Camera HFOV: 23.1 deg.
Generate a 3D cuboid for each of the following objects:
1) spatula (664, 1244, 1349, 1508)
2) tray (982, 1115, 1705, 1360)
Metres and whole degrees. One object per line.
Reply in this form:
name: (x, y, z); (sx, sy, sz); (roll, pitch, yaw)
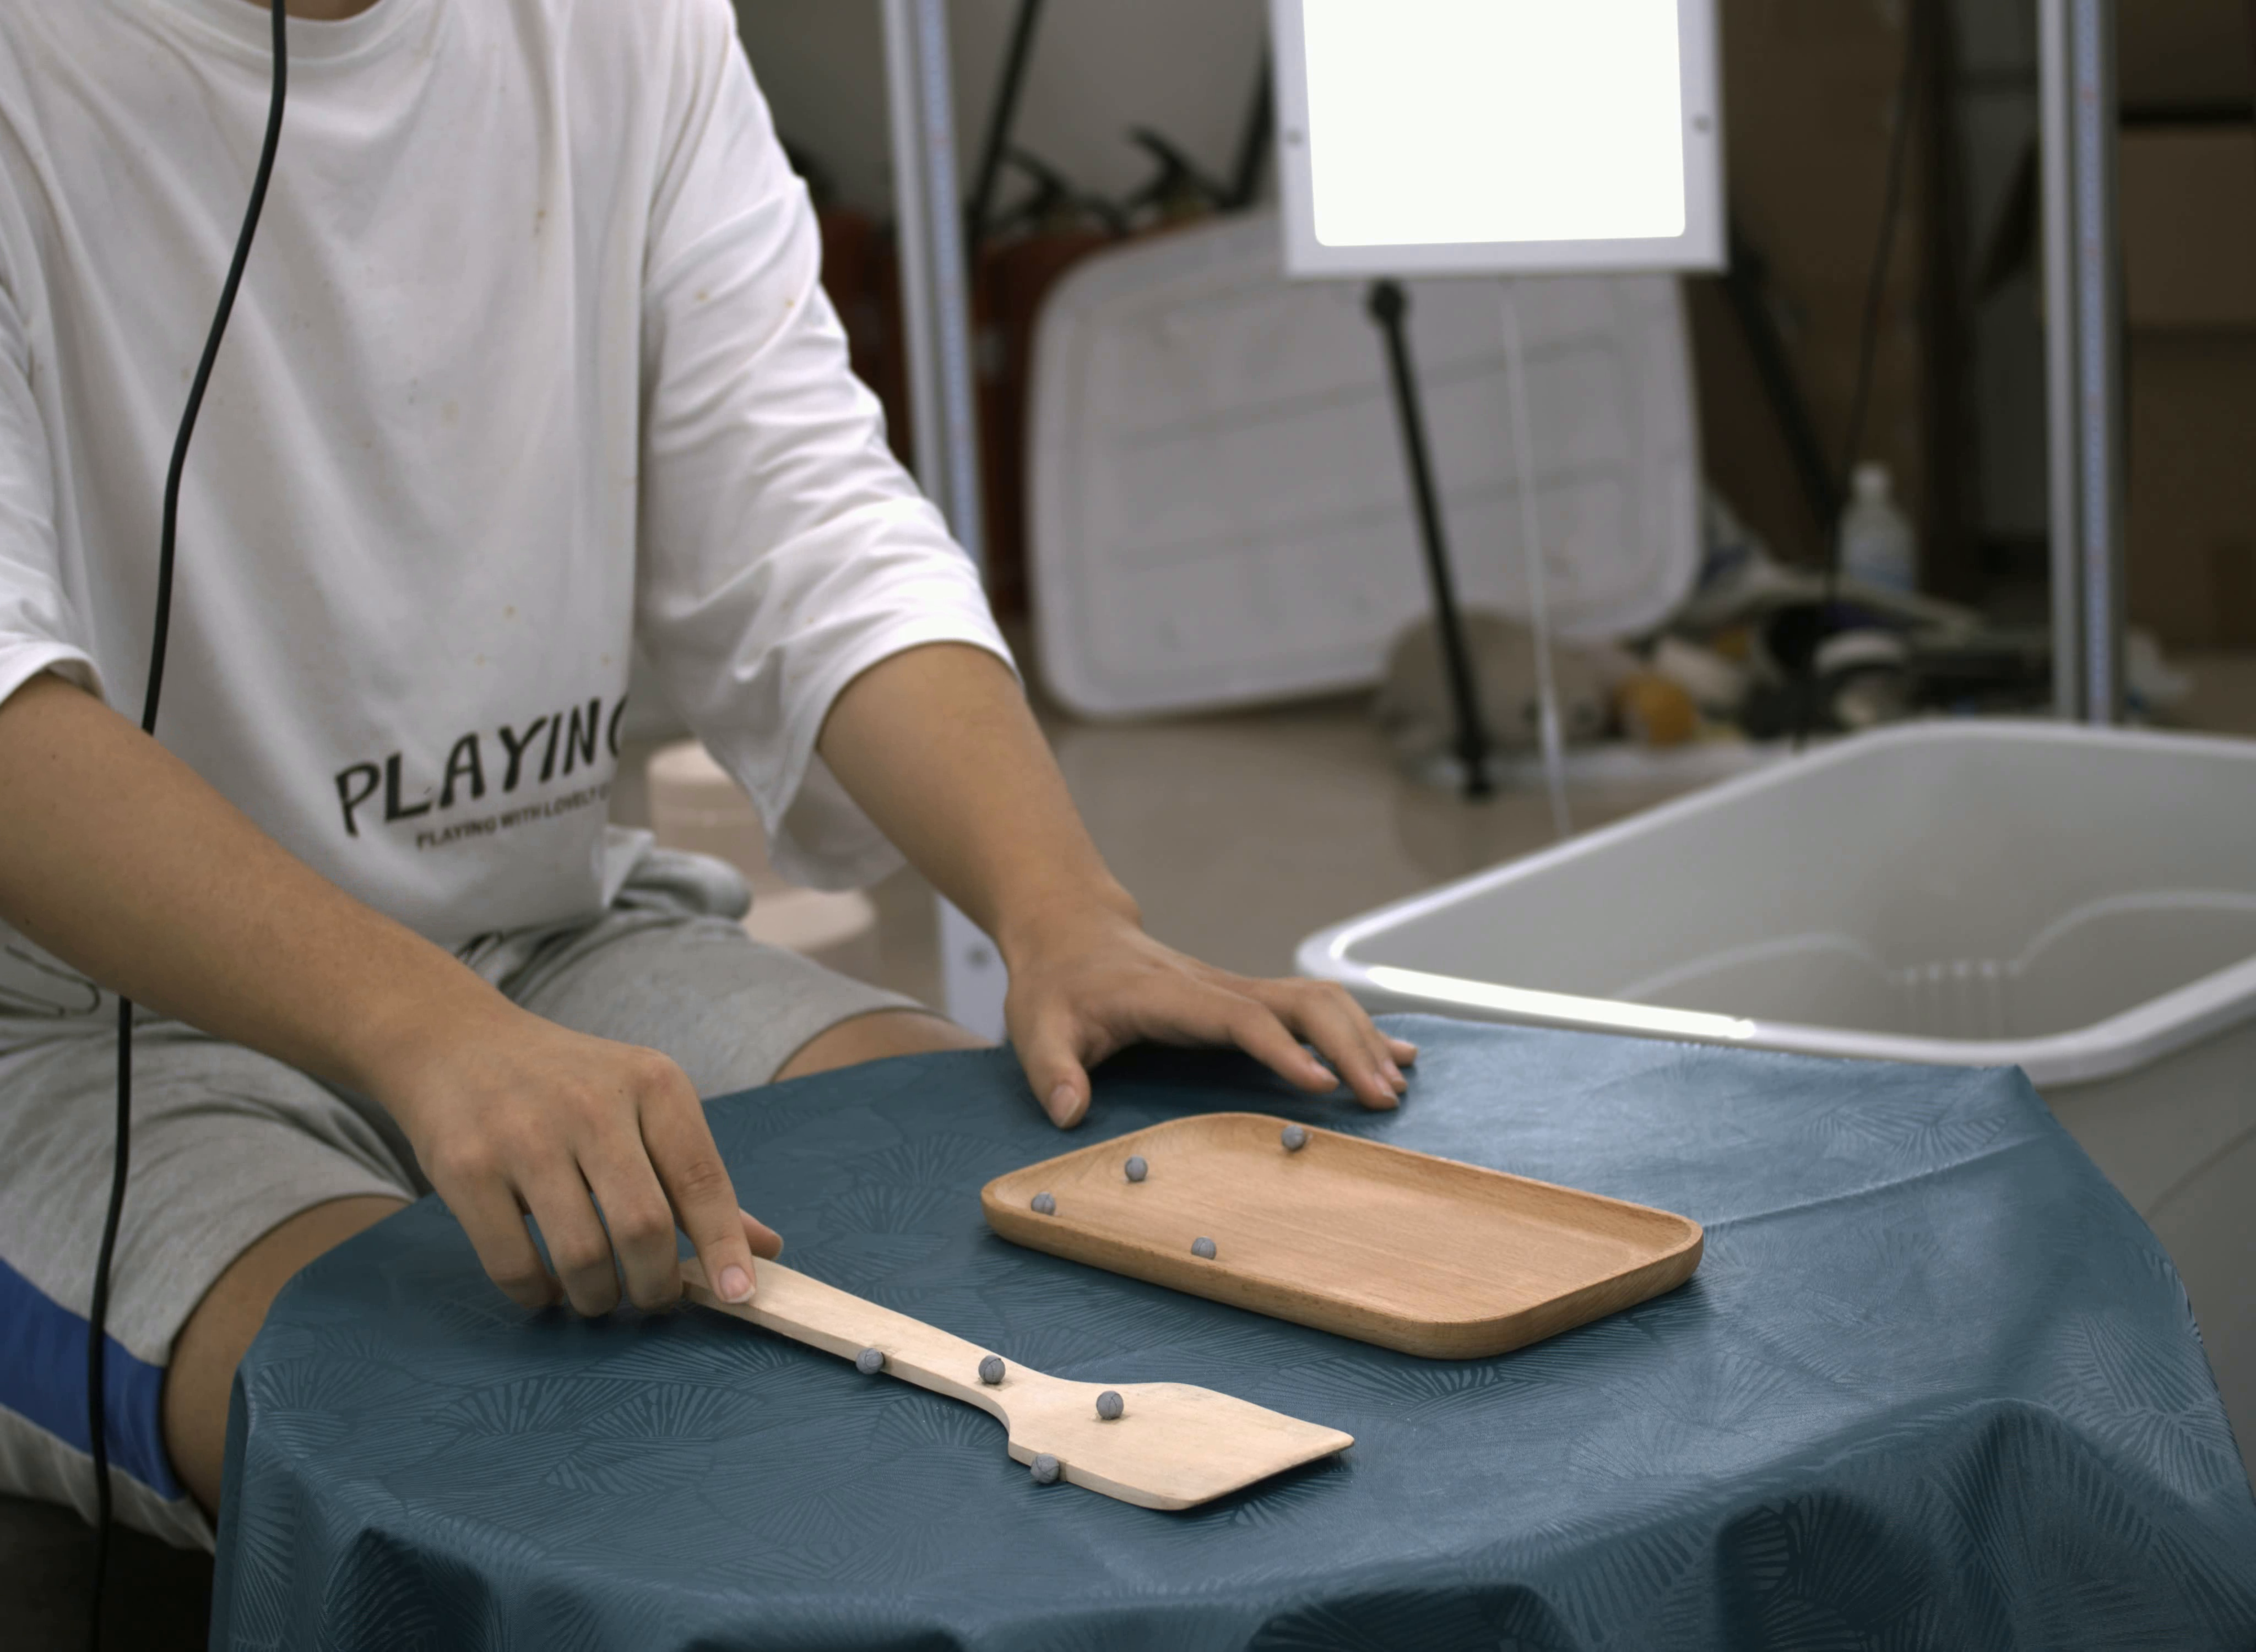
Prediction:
spatula: (-0.053, 0.168, 1.718); (0.070, 0.011, 0.299); (-16, 19, -37)
tray: (0.068, 0.133, 1.811); (0.127, 0.023, 0.256); (-18, 19, -35)
